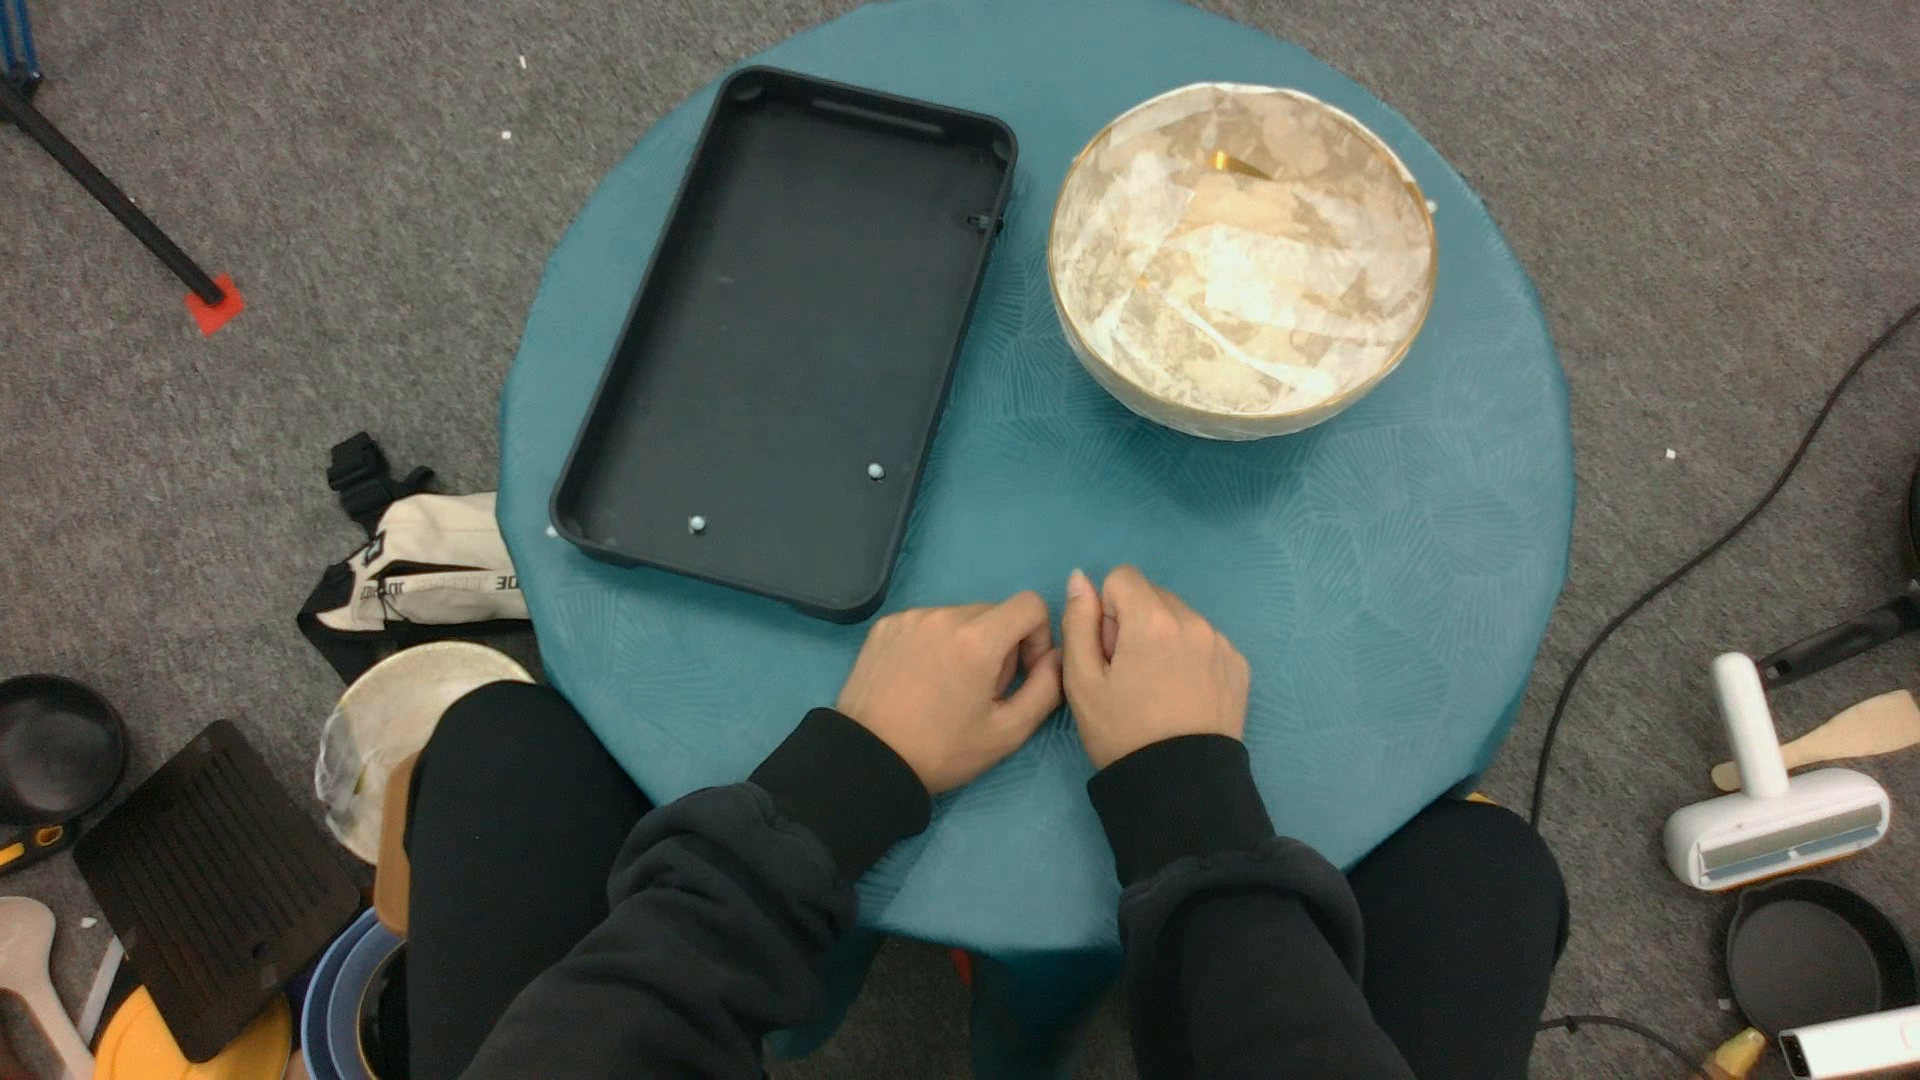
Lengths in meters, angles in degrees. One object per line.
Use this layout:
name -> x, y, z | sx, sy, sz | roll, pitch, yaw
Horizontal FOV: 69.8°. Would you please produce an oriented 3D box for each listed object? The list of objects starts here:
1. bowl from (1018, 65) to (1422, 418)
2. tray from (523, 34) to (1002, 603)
bowl -> 0.131, -0.146, 0.750 | 0.215, 0.094, 0.215 | 1, 69, -1
tray -> -0.102, -0.132, 0.771 | 0.184, 0.037, 0.319 | 15, 71, 4
